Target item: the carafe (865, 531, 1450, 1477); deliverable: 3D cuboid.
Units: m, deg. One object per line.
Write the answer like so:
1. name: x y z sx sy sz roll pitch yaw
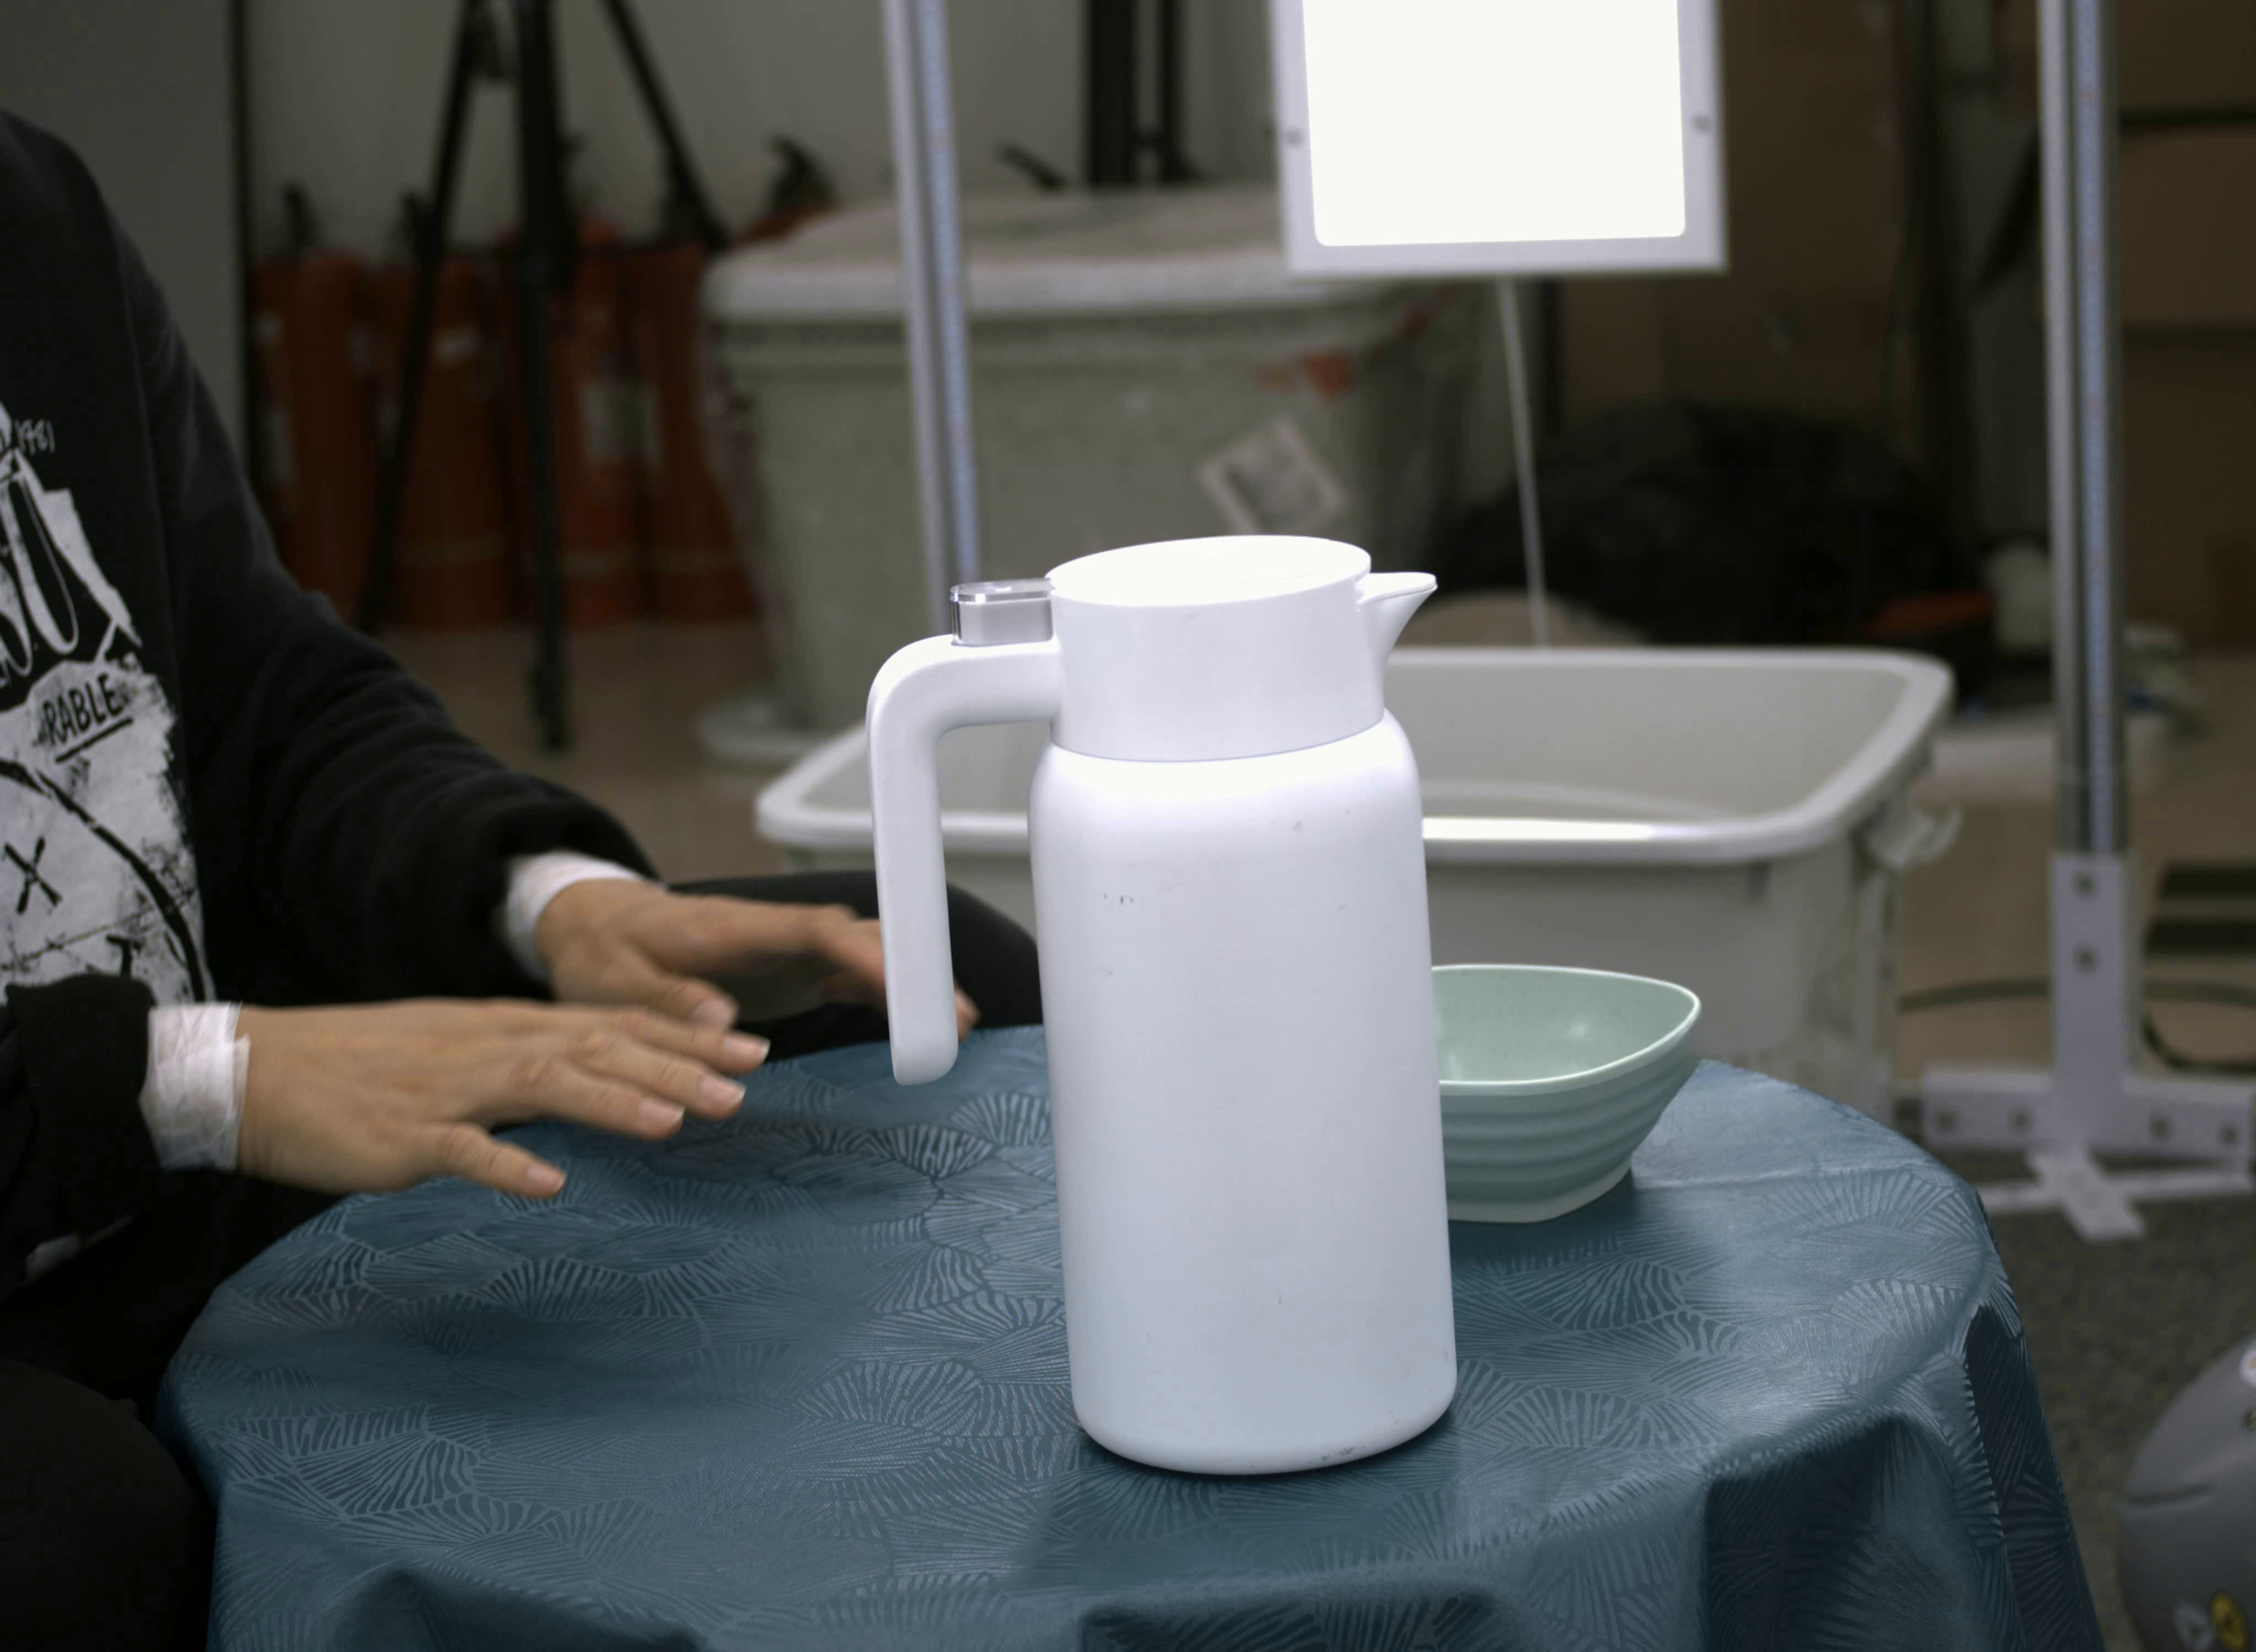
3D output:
1. carafe: 0.014 0.053 1.633 0.172 0.270 0.124 -5 16 -4

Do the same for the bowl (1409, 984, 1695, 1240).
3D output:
1. bowl: 0.122 0.100 1.865 0.151 0.059 0.151 -8 13 0
